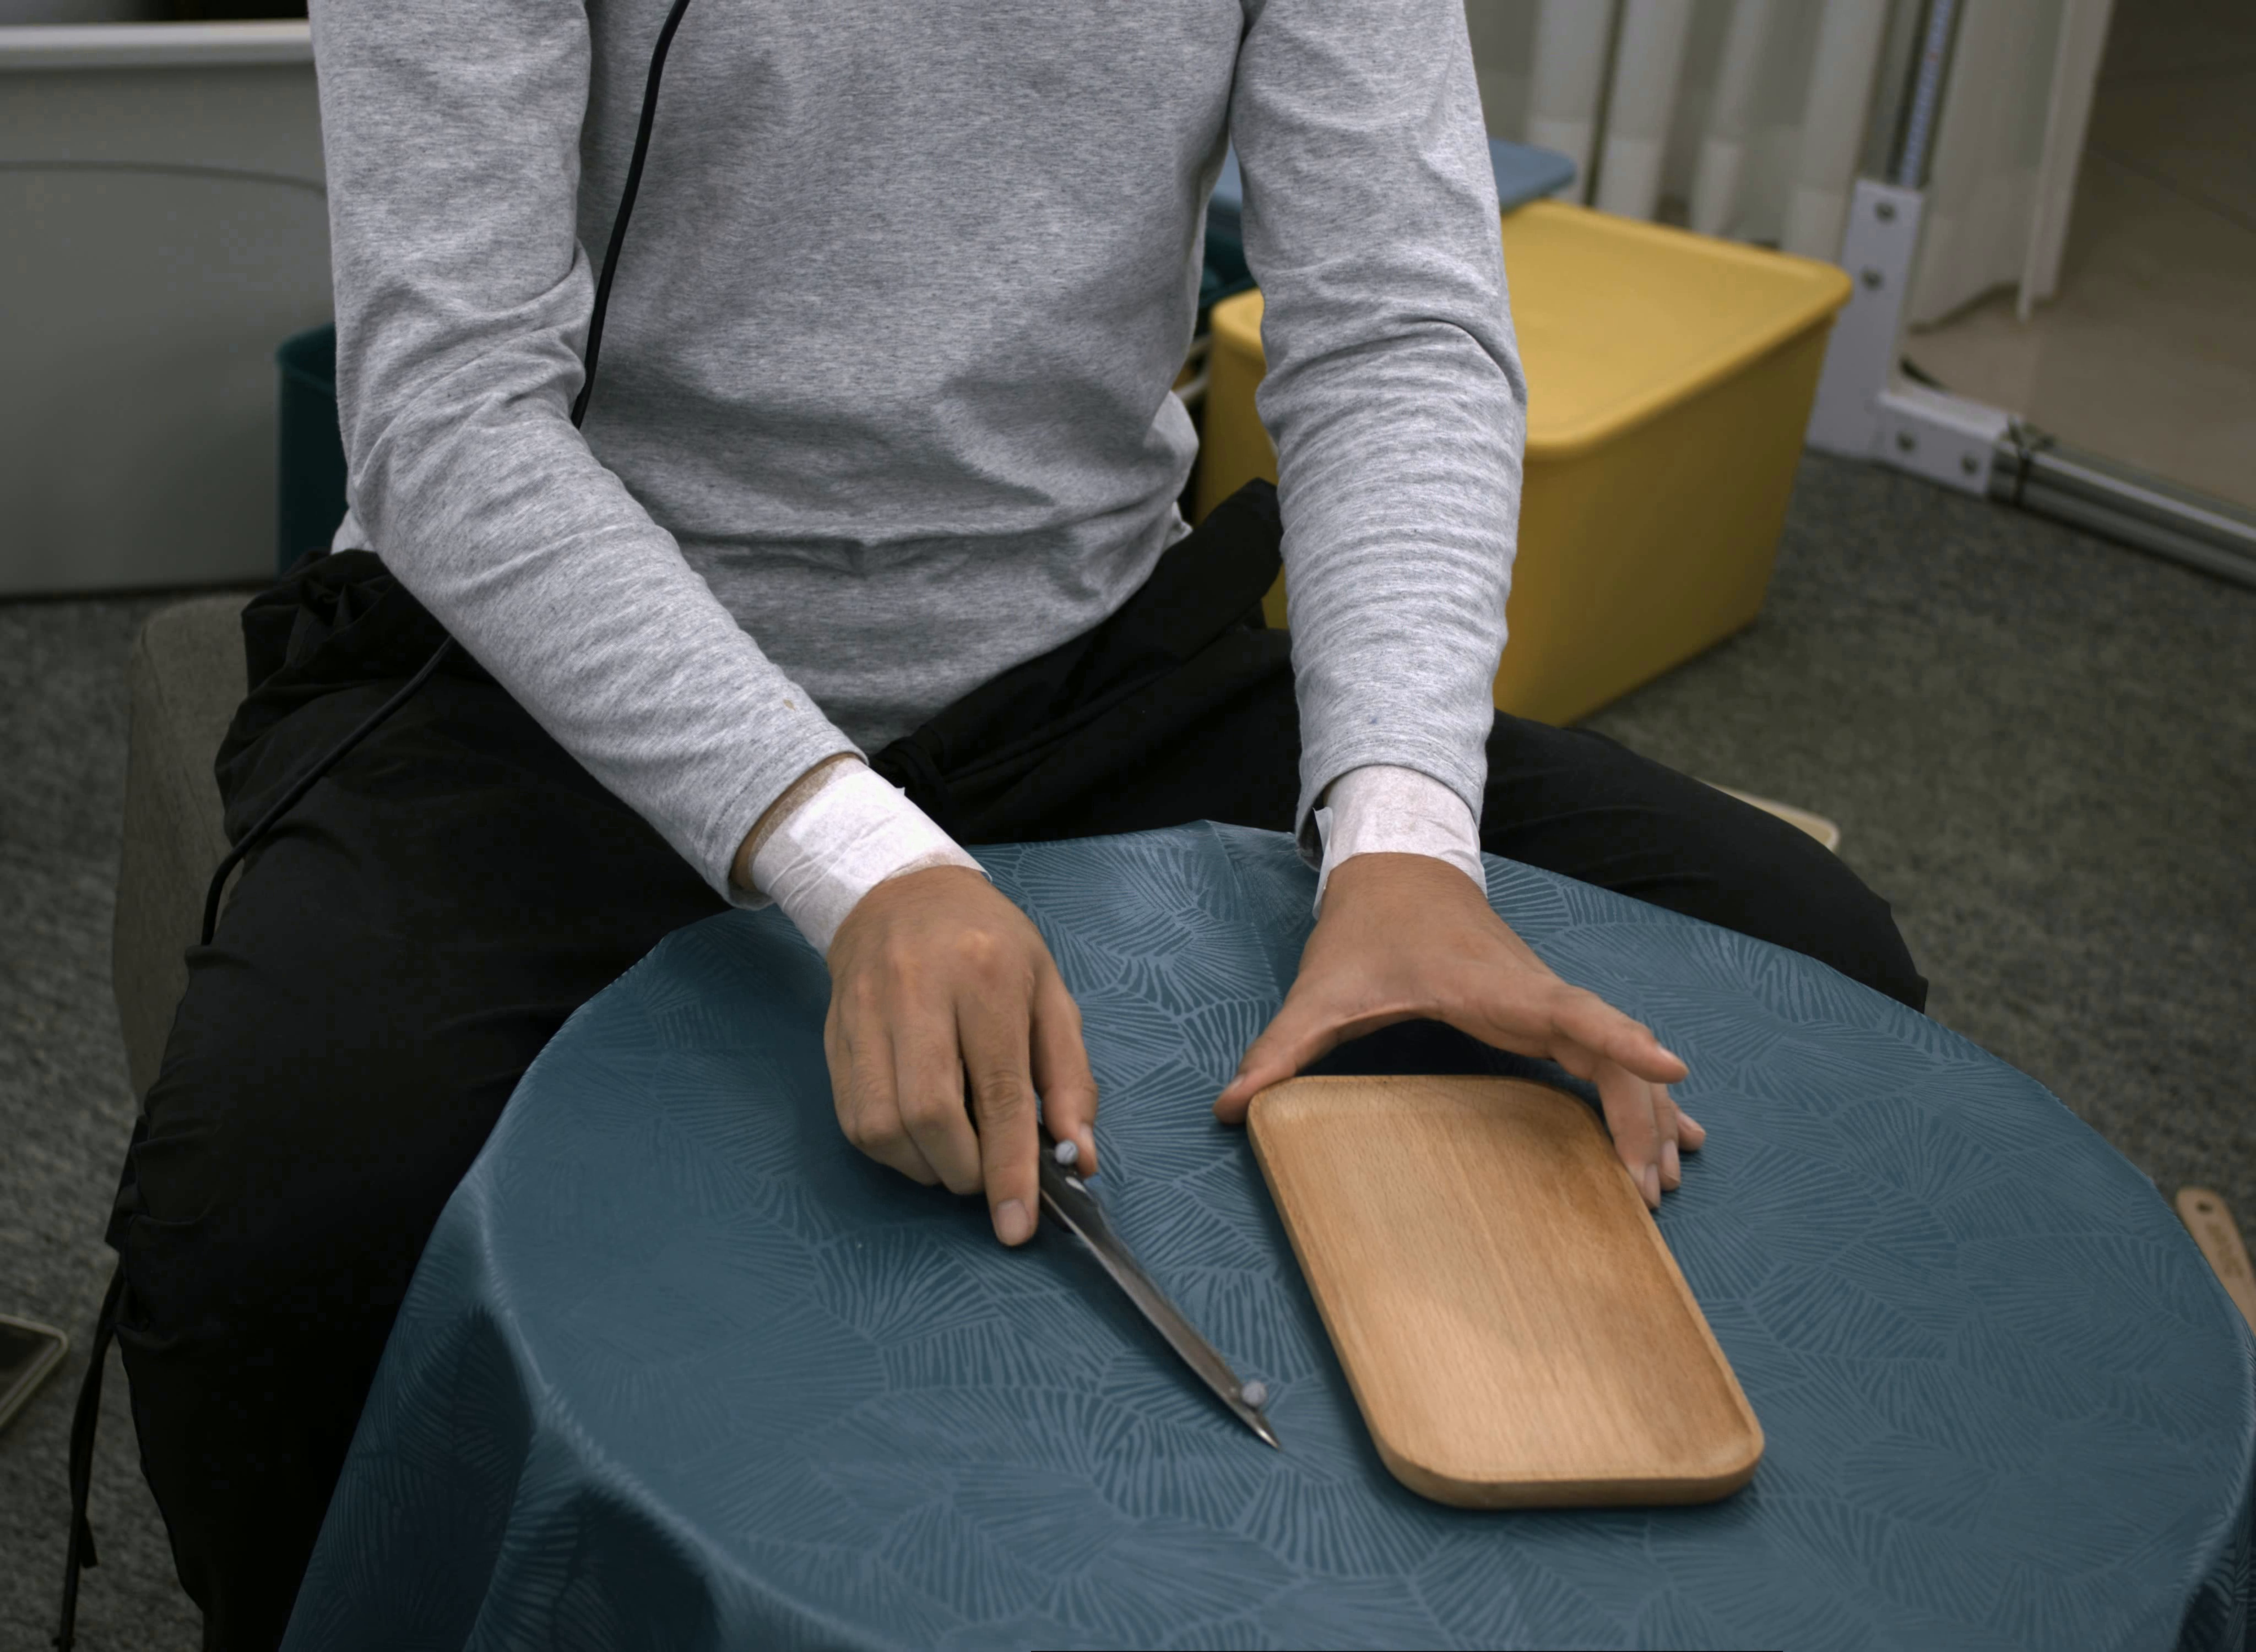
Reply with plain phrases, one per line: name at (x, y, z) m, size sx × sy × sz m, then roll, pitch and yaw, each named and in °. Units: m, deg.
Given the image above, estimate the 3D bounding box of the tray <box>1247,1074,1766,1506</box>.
tray at (0.121, 0.151, 1.762) m, size 0.130 × 0.023 × 0.252 m, roll 3°, pitch 26°, yaw -12°

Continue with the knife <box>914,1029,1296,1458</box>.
knife at (-0.010, 0.136, 1.754) m, size 0.024 × 0.016 × 0.240 m, roll 10°, pitch 25°, yaw -40°
